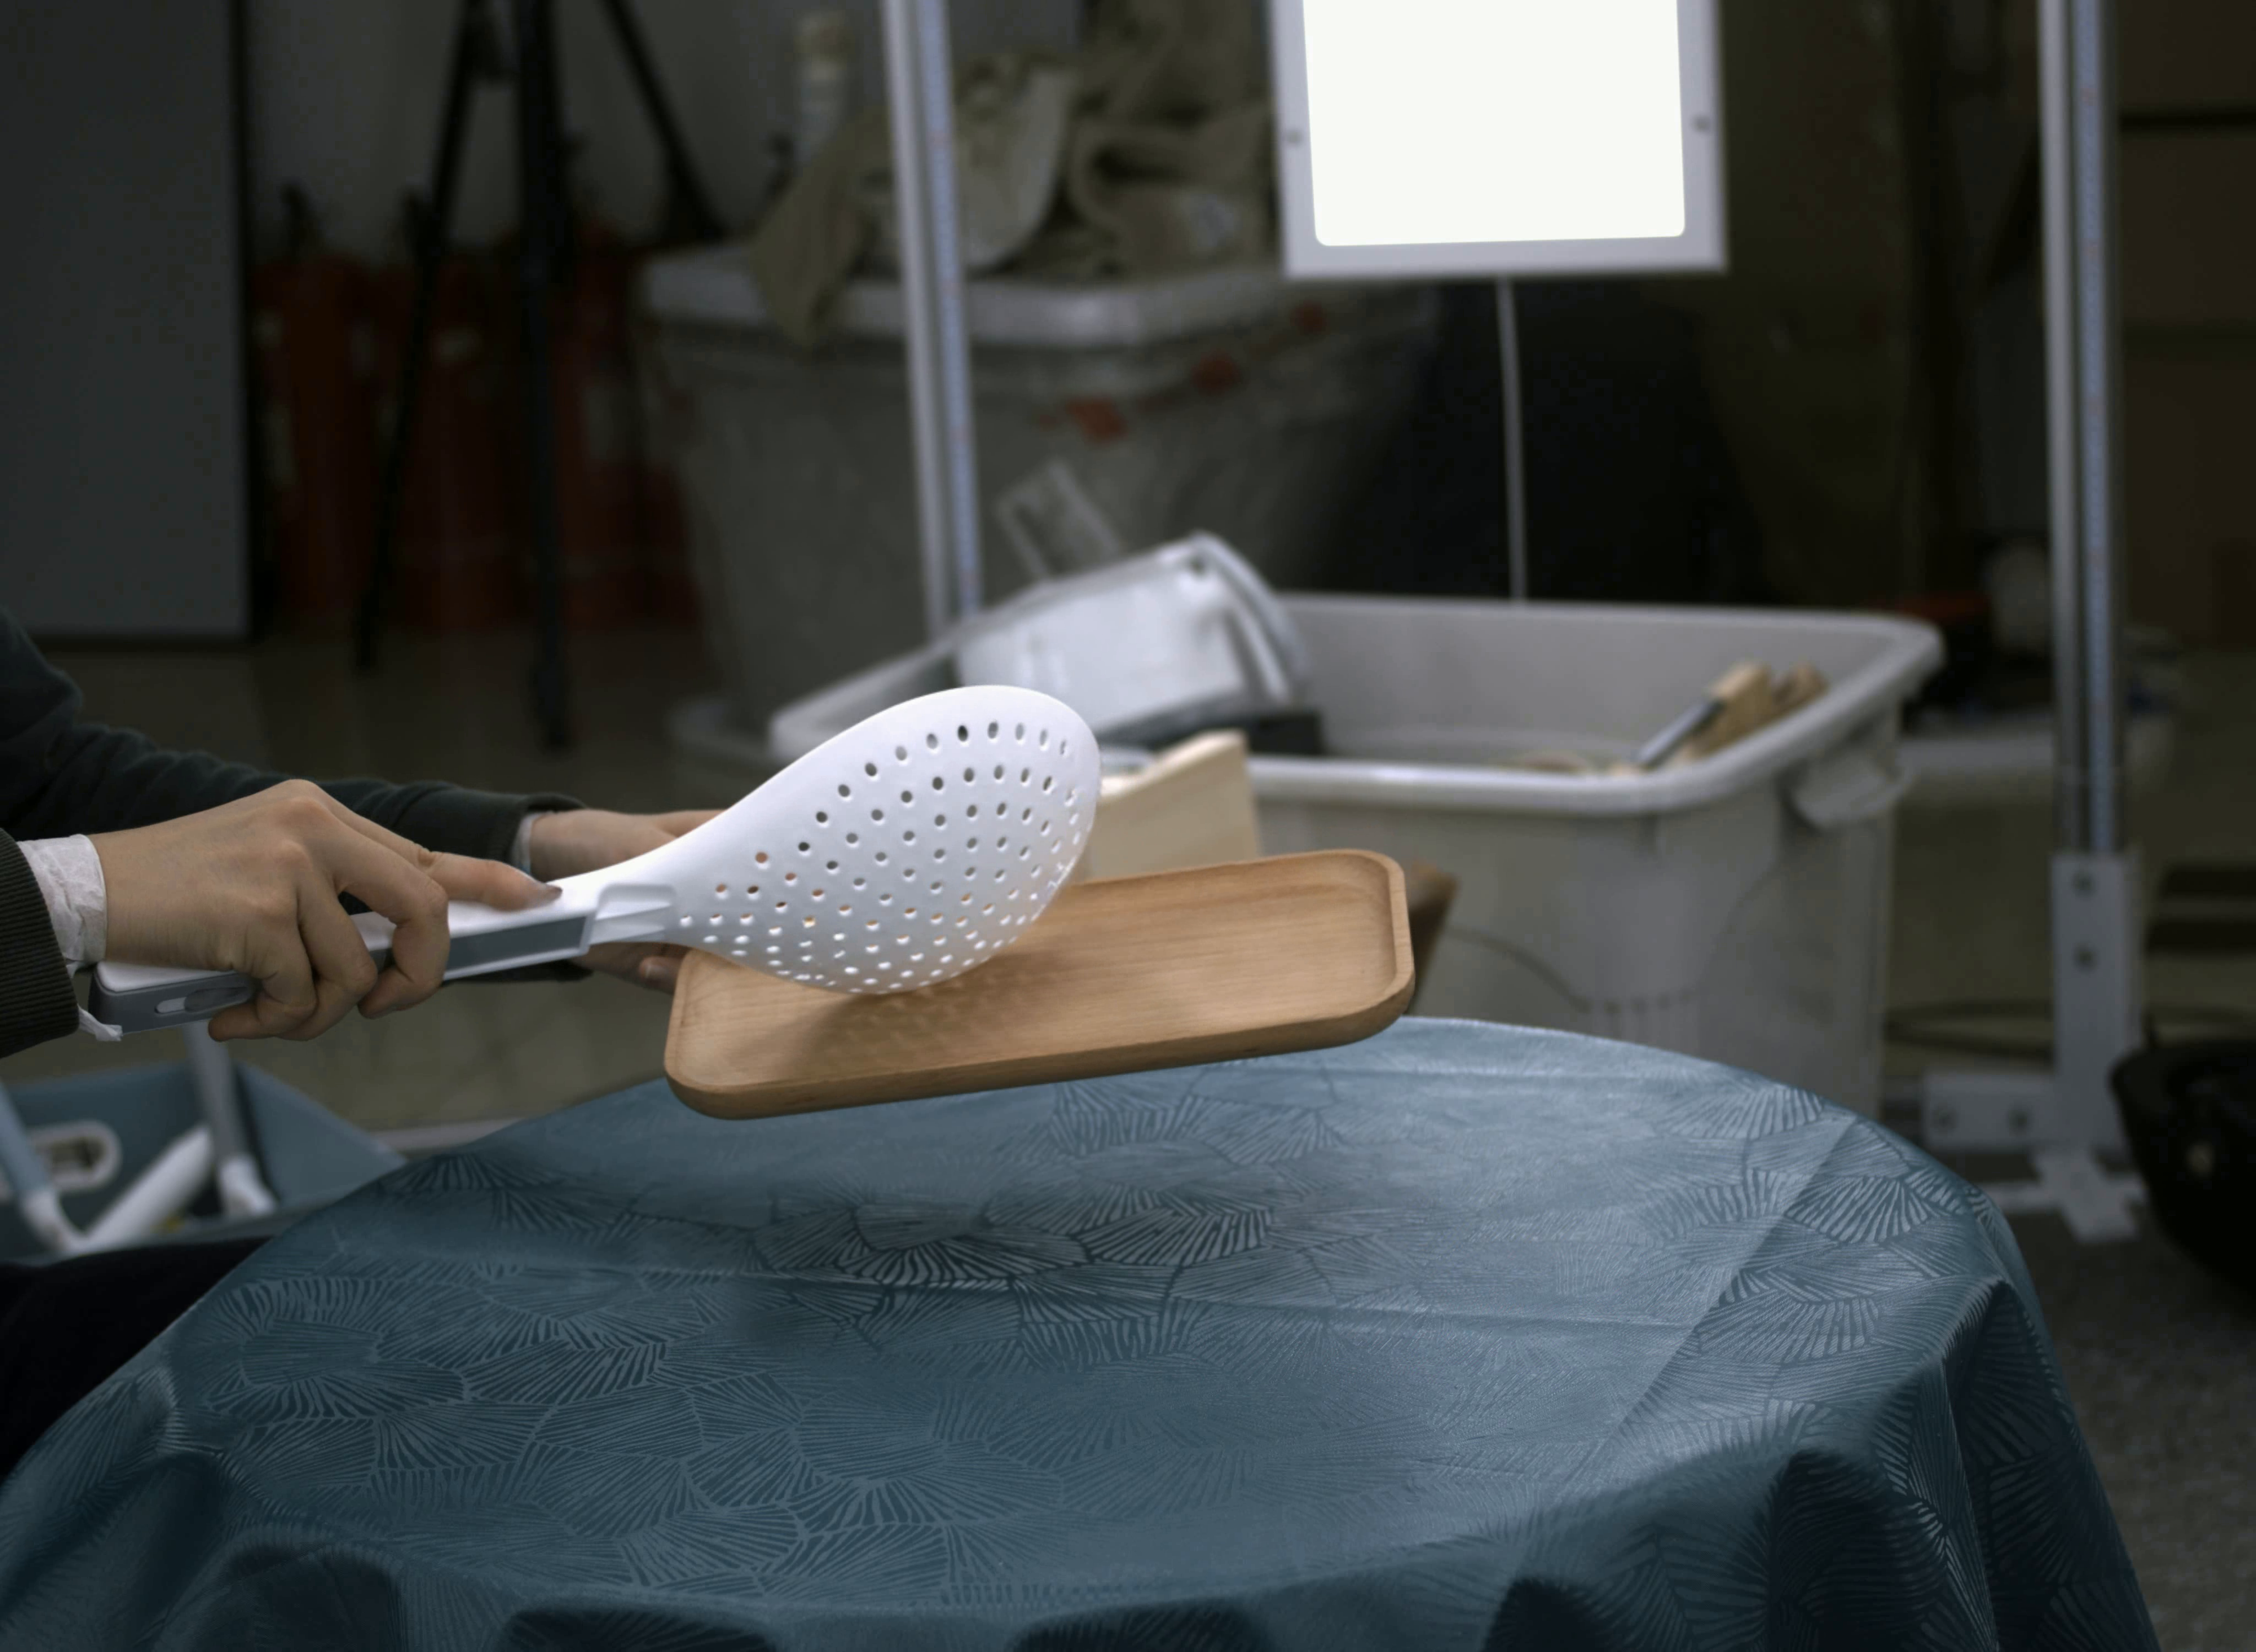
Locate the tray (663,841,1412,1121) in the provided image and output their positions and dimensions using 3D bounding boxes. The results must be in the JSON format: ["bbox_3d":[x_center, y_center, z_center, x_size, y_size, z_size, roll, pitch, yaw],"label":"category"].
[{"bbox_3d":[-0.030,0.052,1.842,0.251,0.023,0.130,-8,23,6],"label":"tray"}]

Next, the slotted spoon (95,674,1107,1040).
[{"bbox_3d":[-0.160,0.024,1.762,0.343,0.137,0.046,-7,45,-21],"label":"slotted spoon"}]
